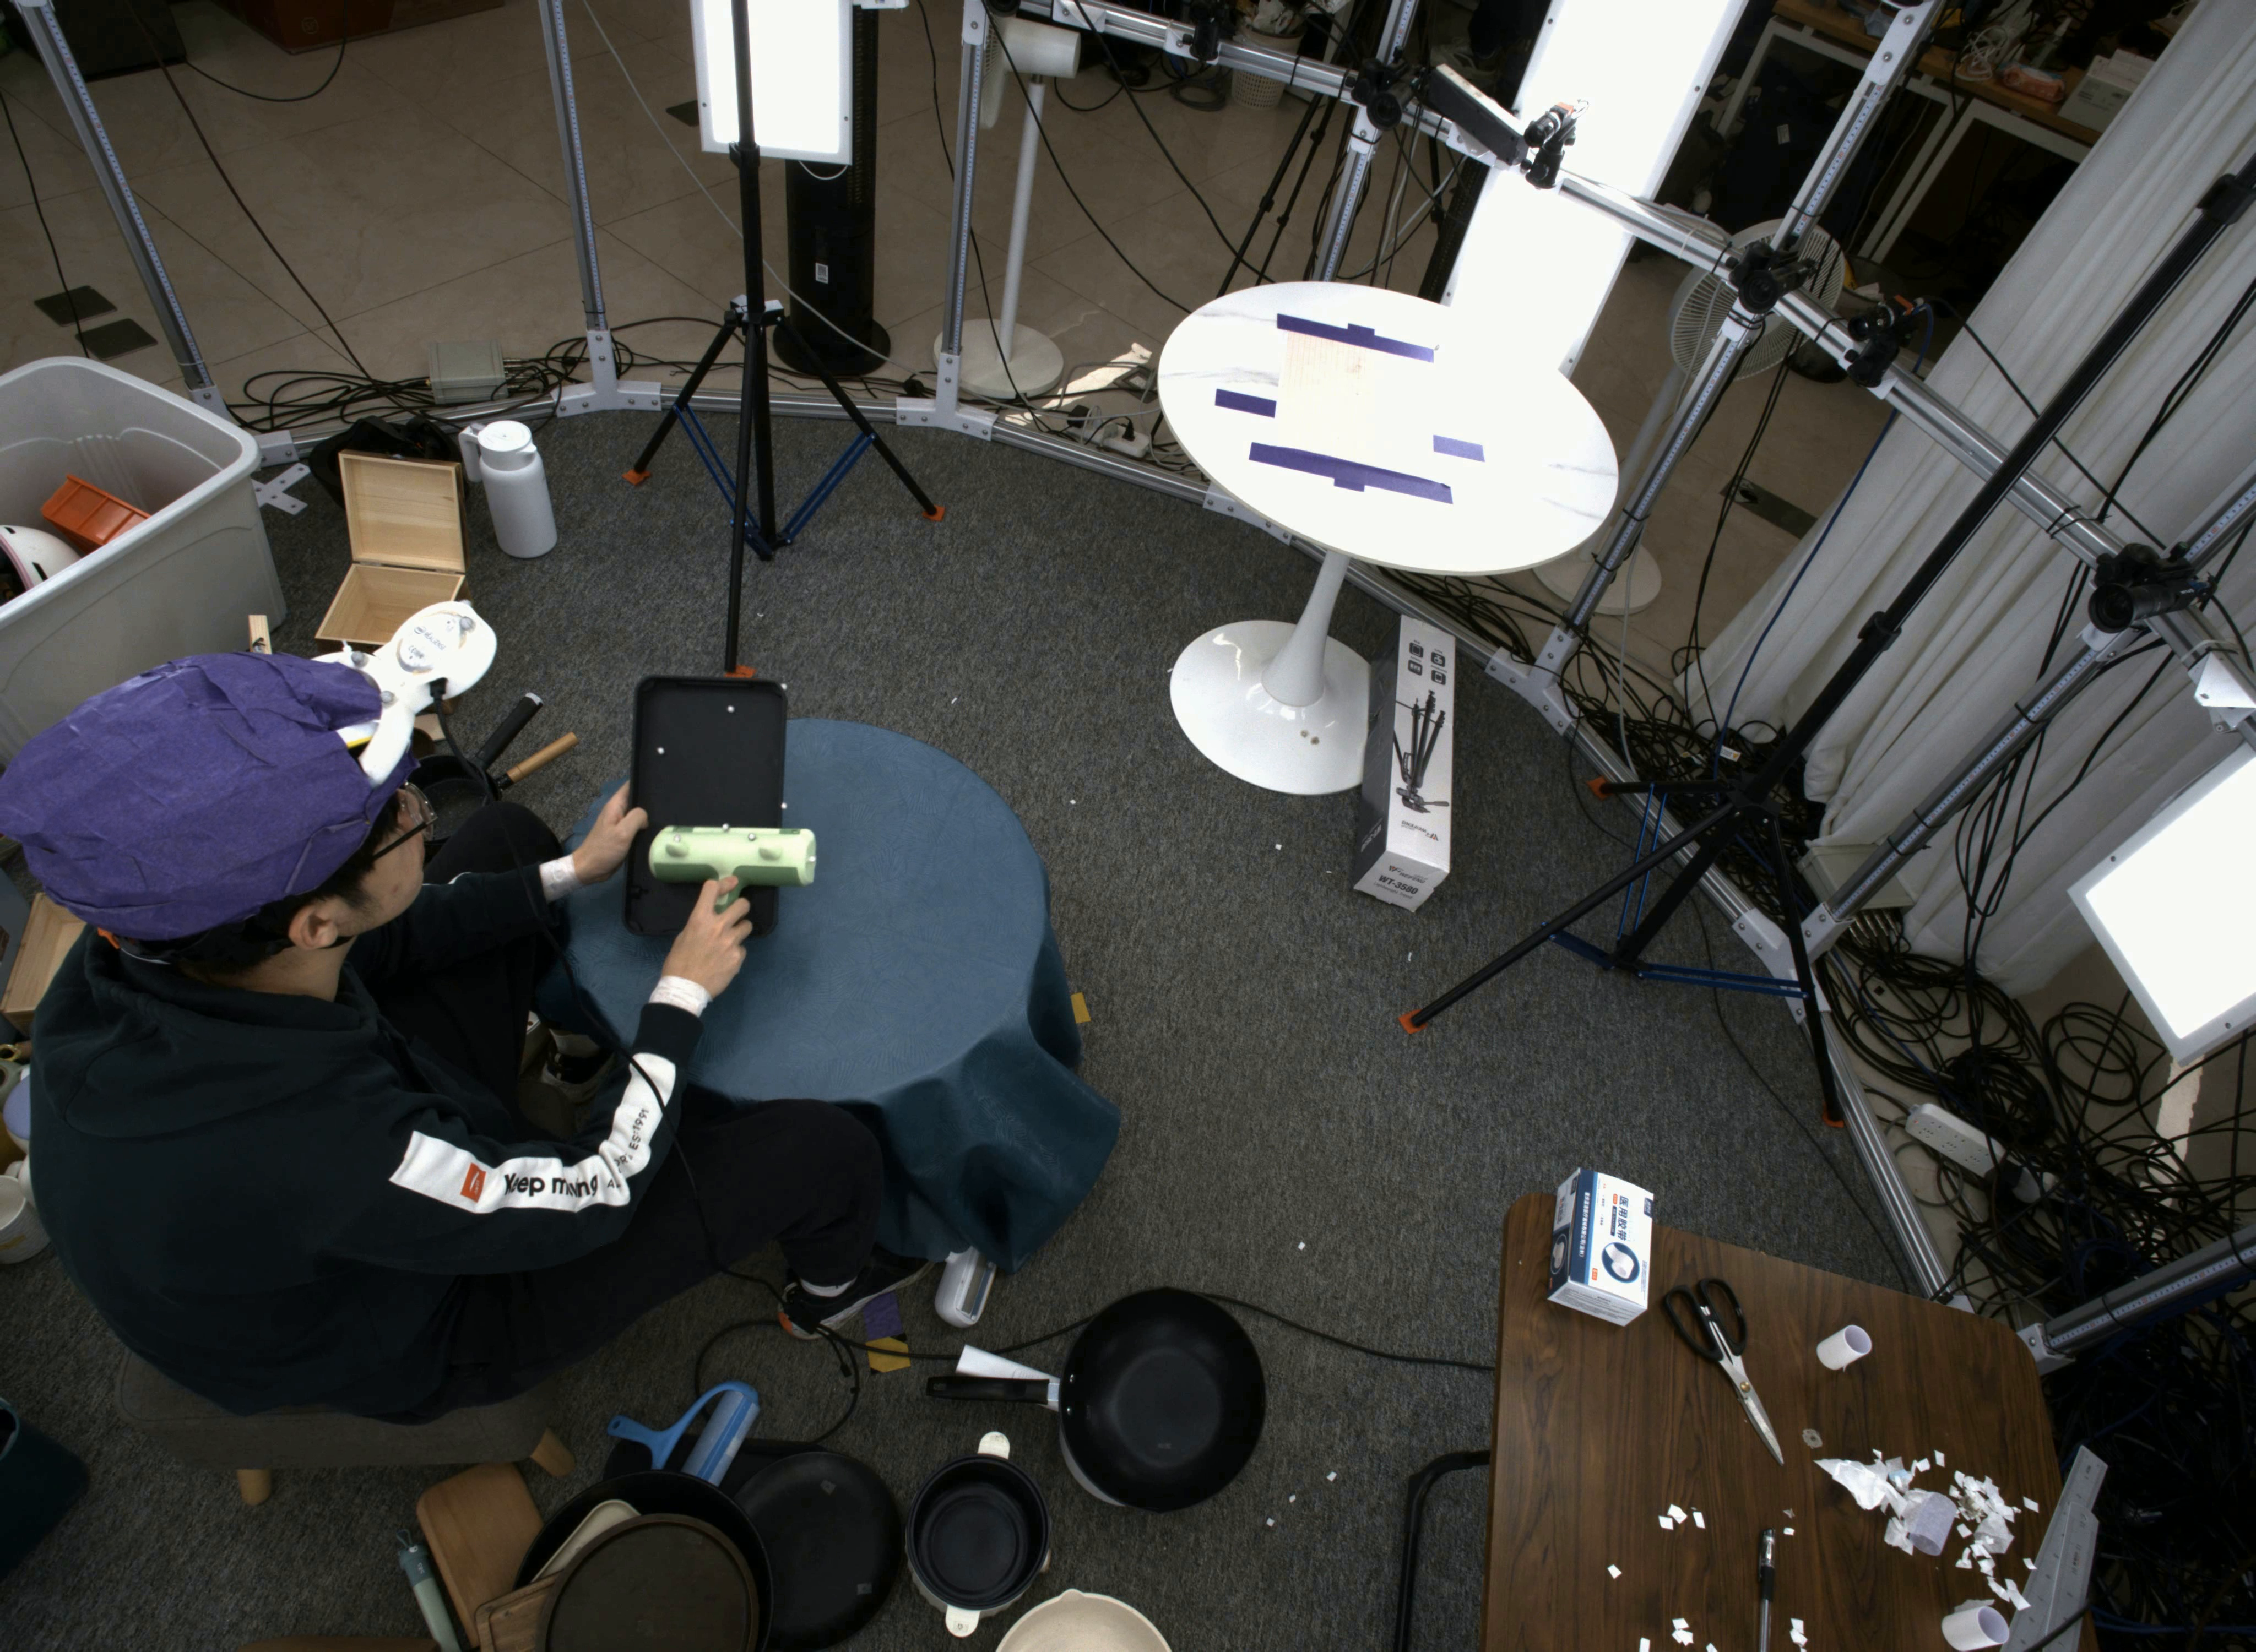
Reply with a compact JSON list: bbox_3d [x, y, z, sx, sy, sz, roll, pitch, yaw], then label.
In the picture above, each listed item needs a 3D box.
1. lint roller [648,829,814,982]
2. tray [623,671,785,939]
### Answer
[{"bbox_3d":[-0.479,0.081,1.509,0.195,0.084,0.181,1,58,5],"label":"lint roller"},{"bbox_3d":[-0.516,-0.026,1.574,0.183,0.037,0.320,2,86,-8],"label":"tray"}]
